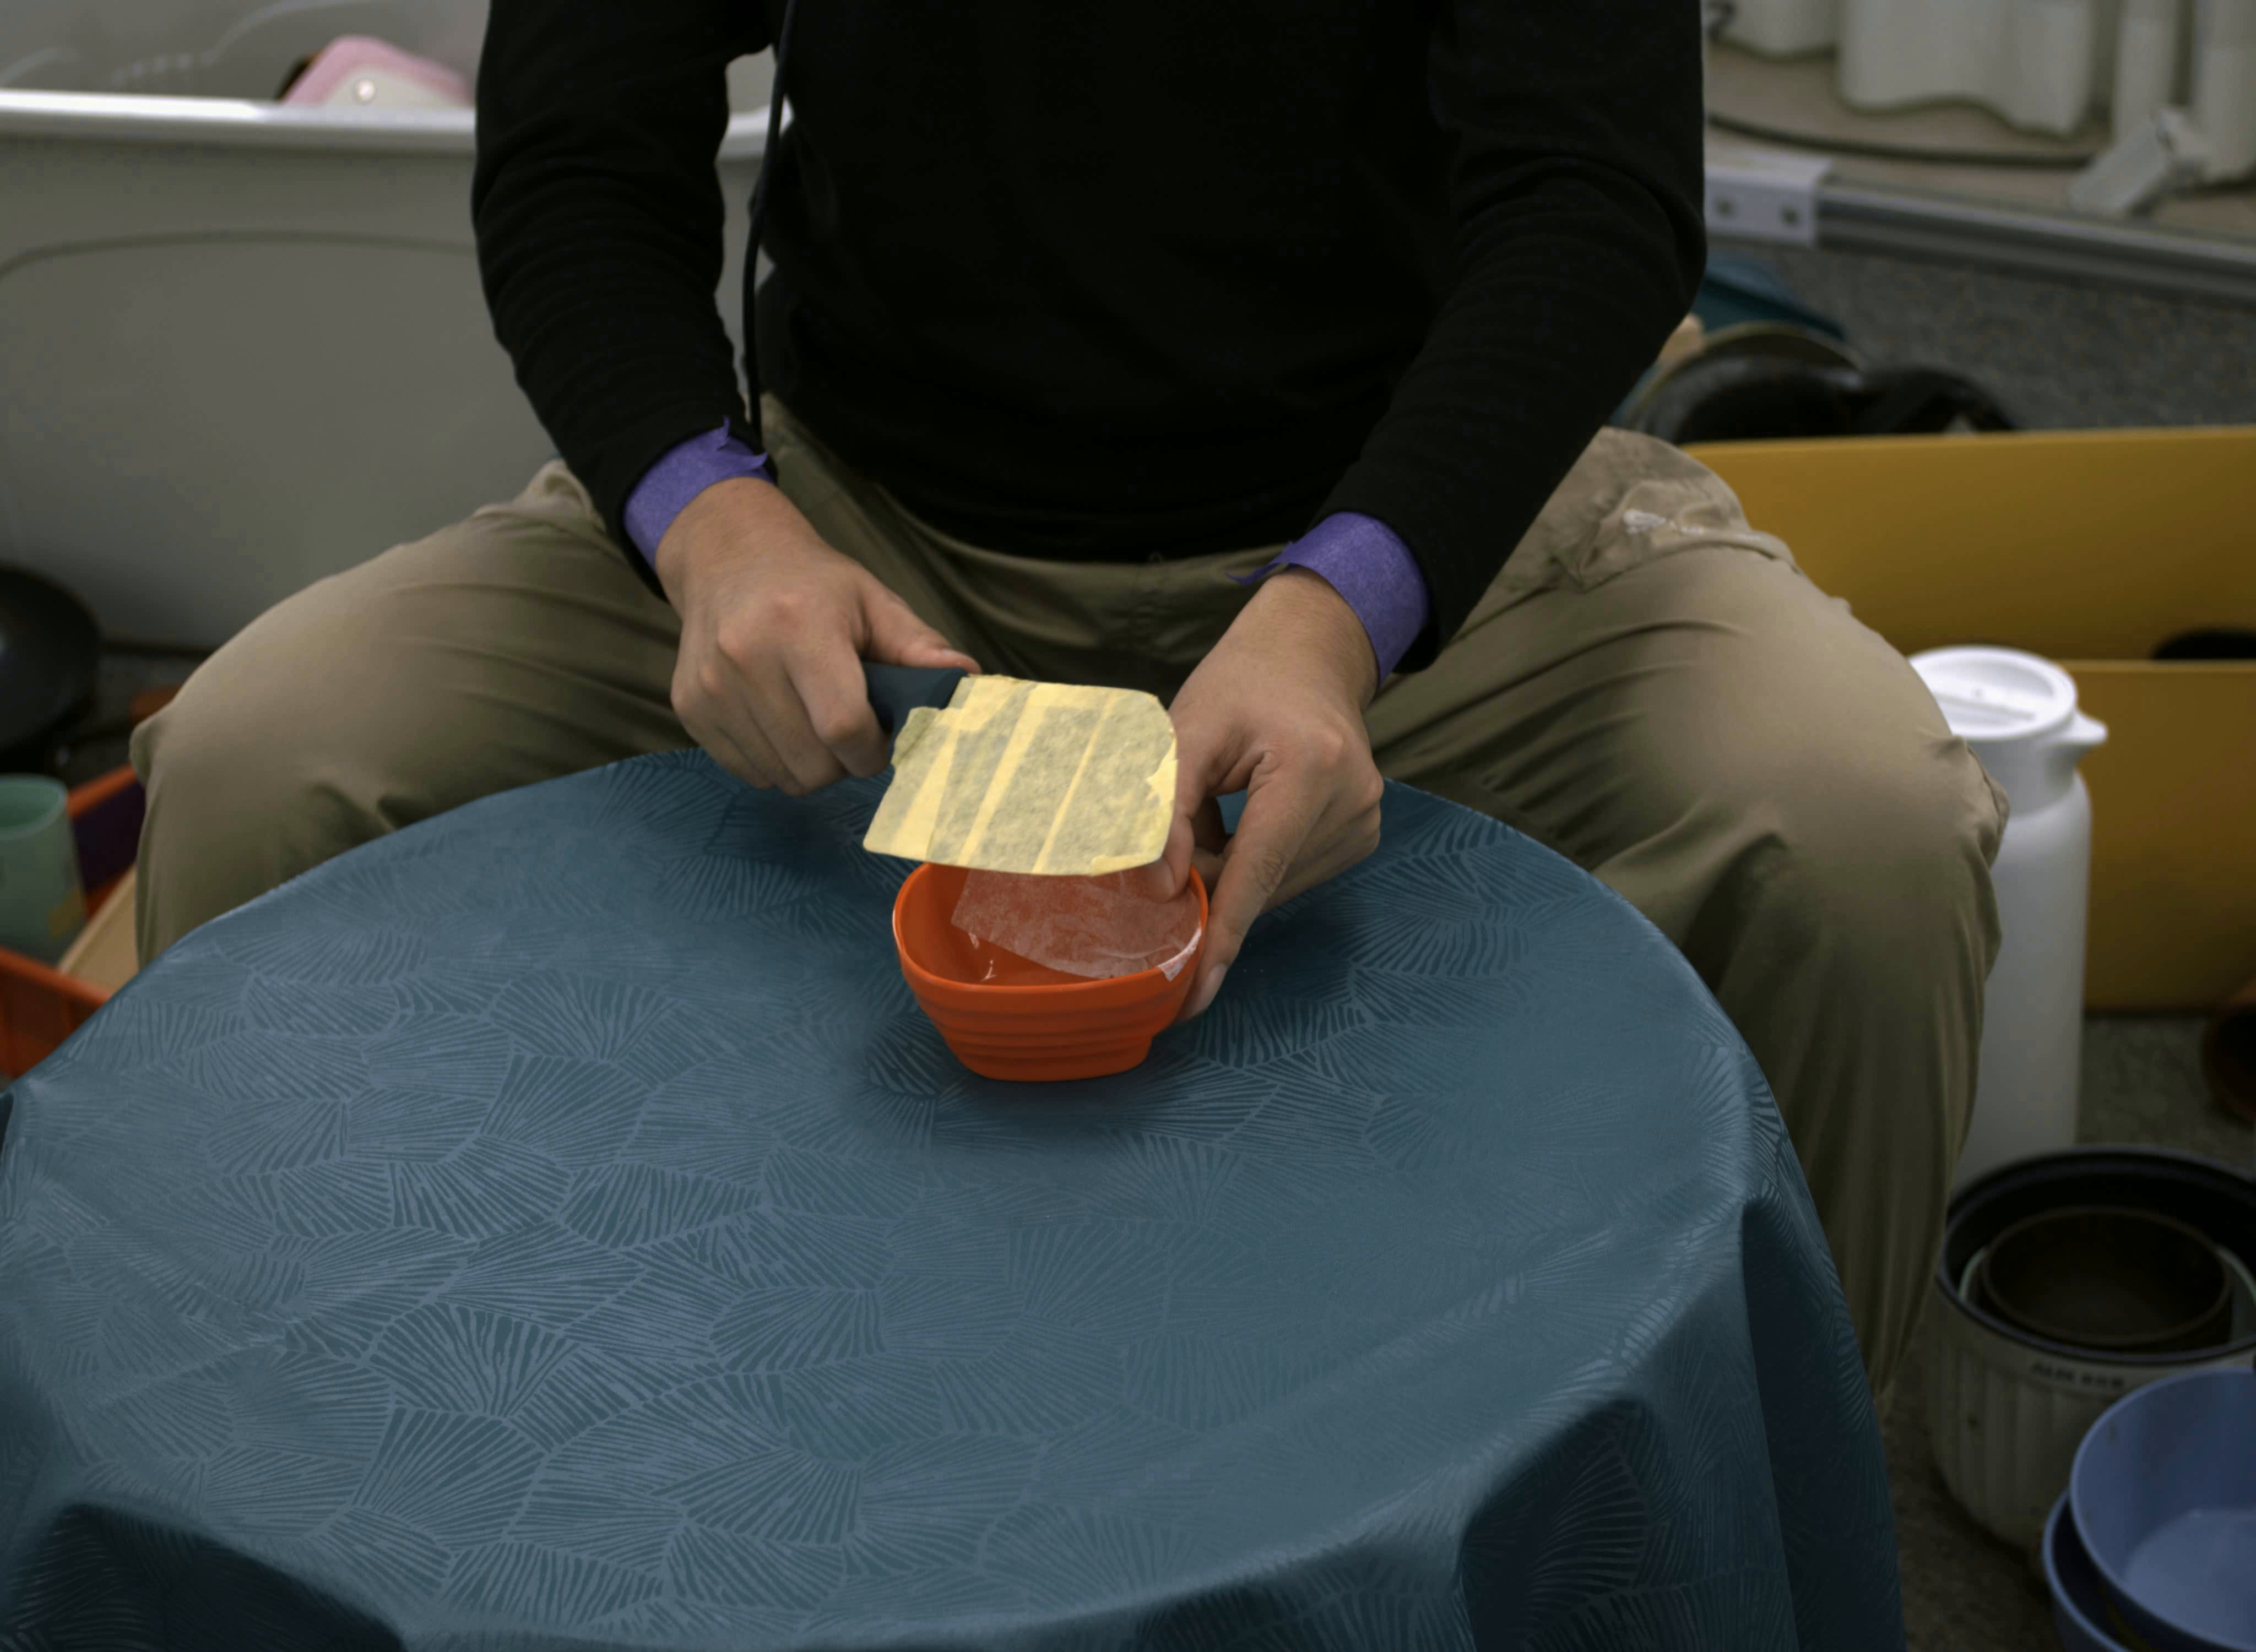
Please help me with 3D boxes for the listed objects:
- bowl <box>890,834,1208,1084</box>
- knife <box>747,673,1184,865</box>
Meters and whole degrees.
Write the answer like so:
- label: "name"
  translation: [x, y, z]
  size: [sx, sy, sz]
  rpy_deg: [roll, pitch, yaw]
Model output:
- label: "bowl"
  translation: [-0.025, 0.050, 1.943]
  size: [0.118, 0.051, 0.121]
  rpy_deg: [-4, 28, 2]
- label: "knife"
  translation: [-0.062, -0.022, 1.996]
  size: [0.288, 0.027, 0.082]
  rpy_deg: [9, 66, 57]
